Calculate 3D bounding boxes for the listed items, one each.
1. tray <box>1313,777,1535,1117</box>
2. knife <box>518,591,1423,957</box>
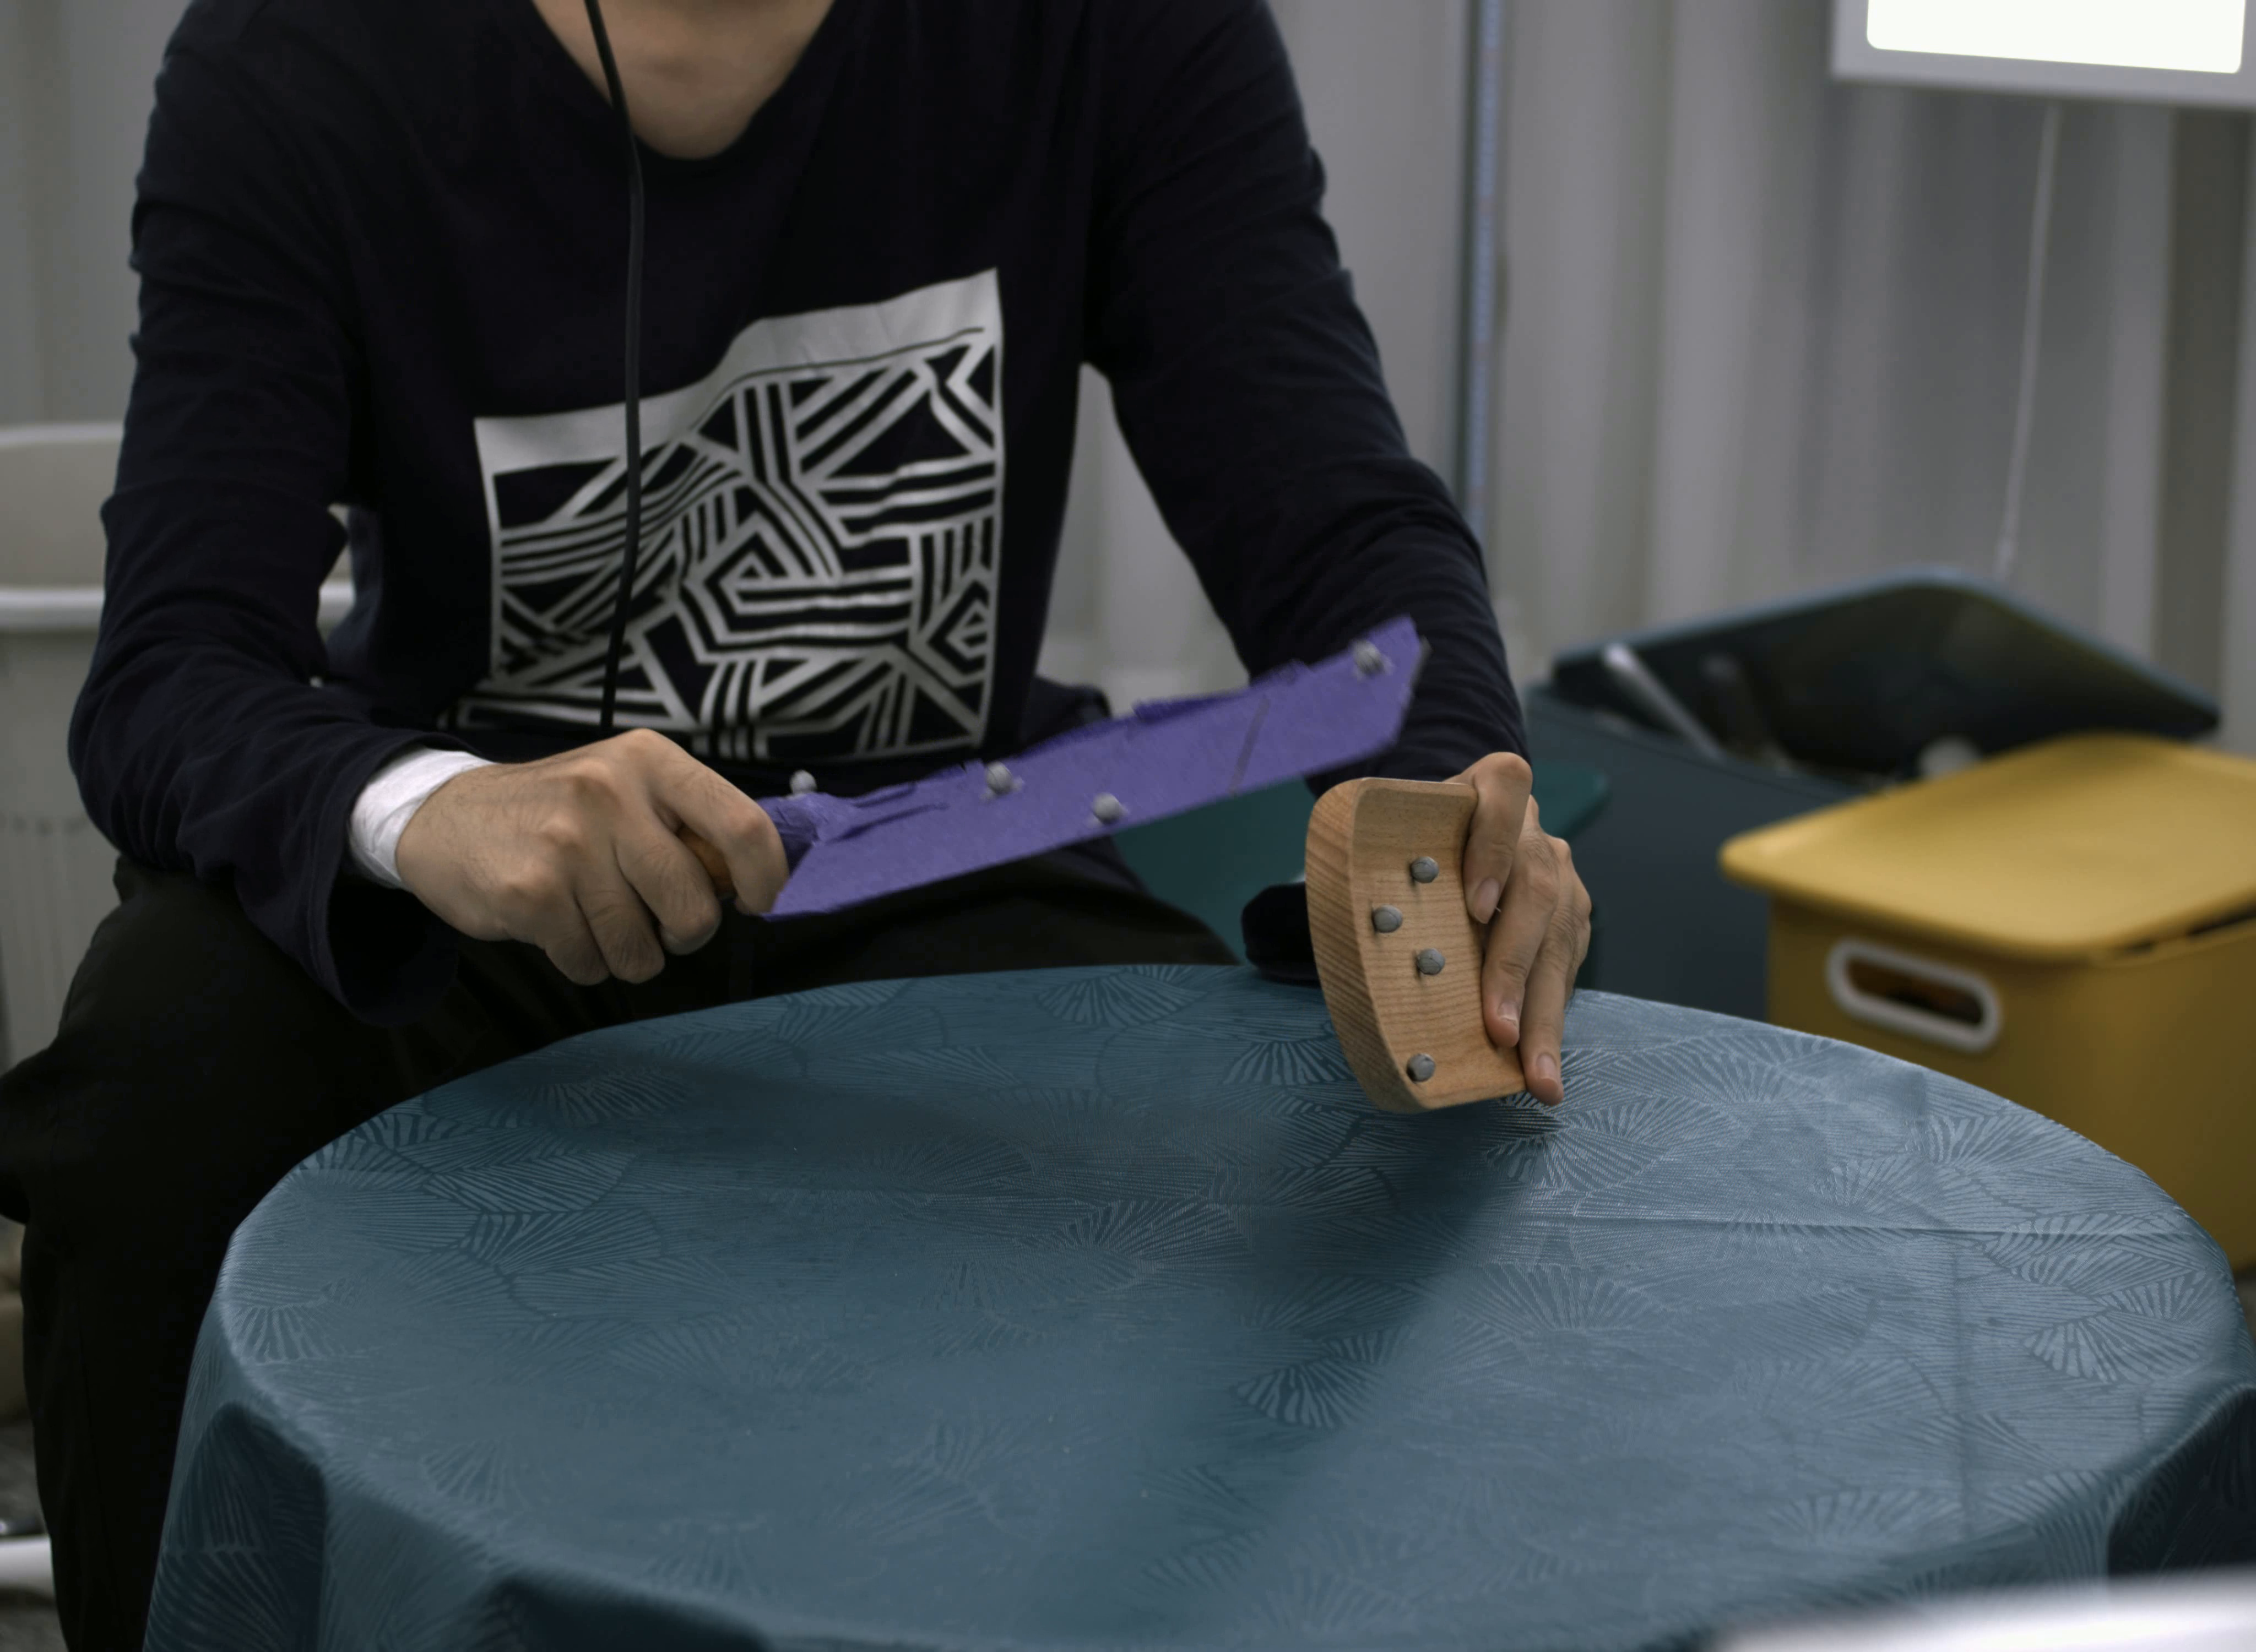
[{"bbox_3d":[0.092,0.036,1.612,0.020,0.102,0.232,-11,-2,13],"label":"tray"},{"bbox_3d":[-0.058,-0.008,1.626,0.313,0.032,0.103,-19,17,19],"label":"knife"}]
